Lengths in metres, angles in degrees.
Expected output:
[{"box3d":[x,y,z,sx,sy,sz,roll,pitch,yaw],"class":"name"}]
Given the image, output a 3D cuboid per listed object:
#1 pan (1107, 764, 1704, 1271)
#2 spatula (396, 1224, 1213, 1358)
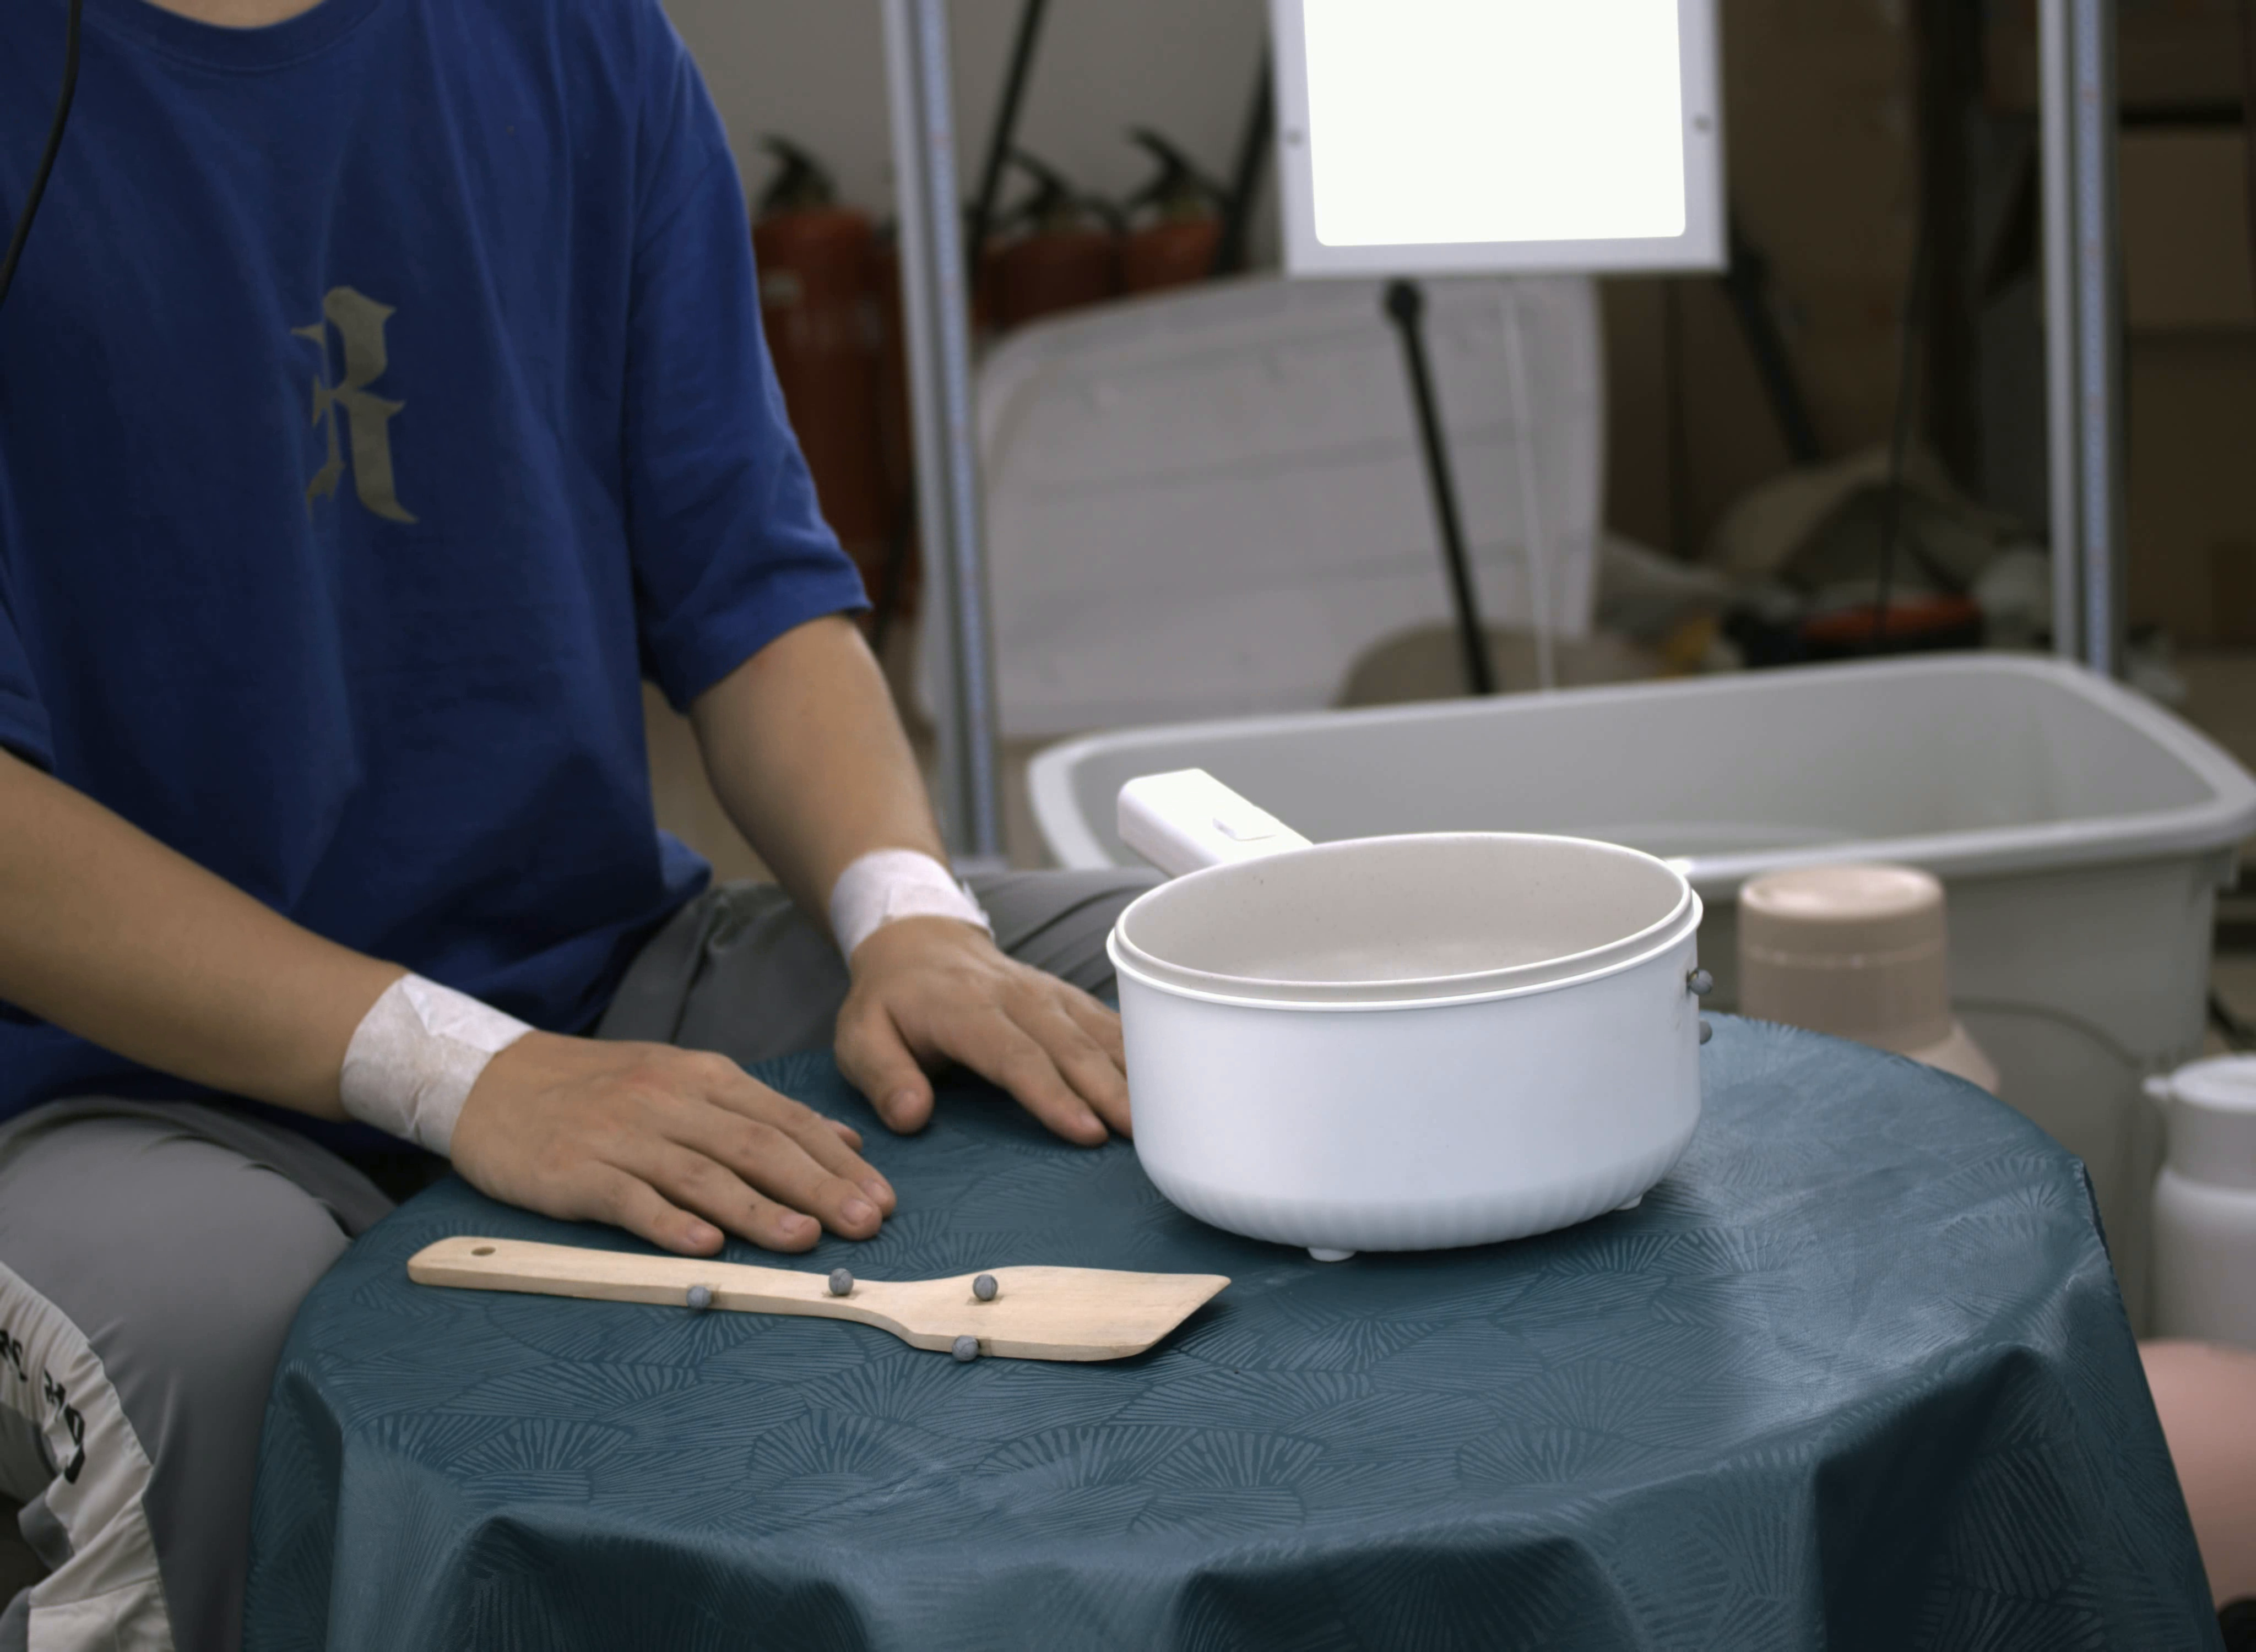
[{"box3d":[0.073,0.061,1.933,0.198,0.102,0.359,-11,15,-16],"class":"pan"},{"box3d":[-0.115,0.150,1.816,0.298,0.011,0.071,3,18,28],"class":"spatula"}]
